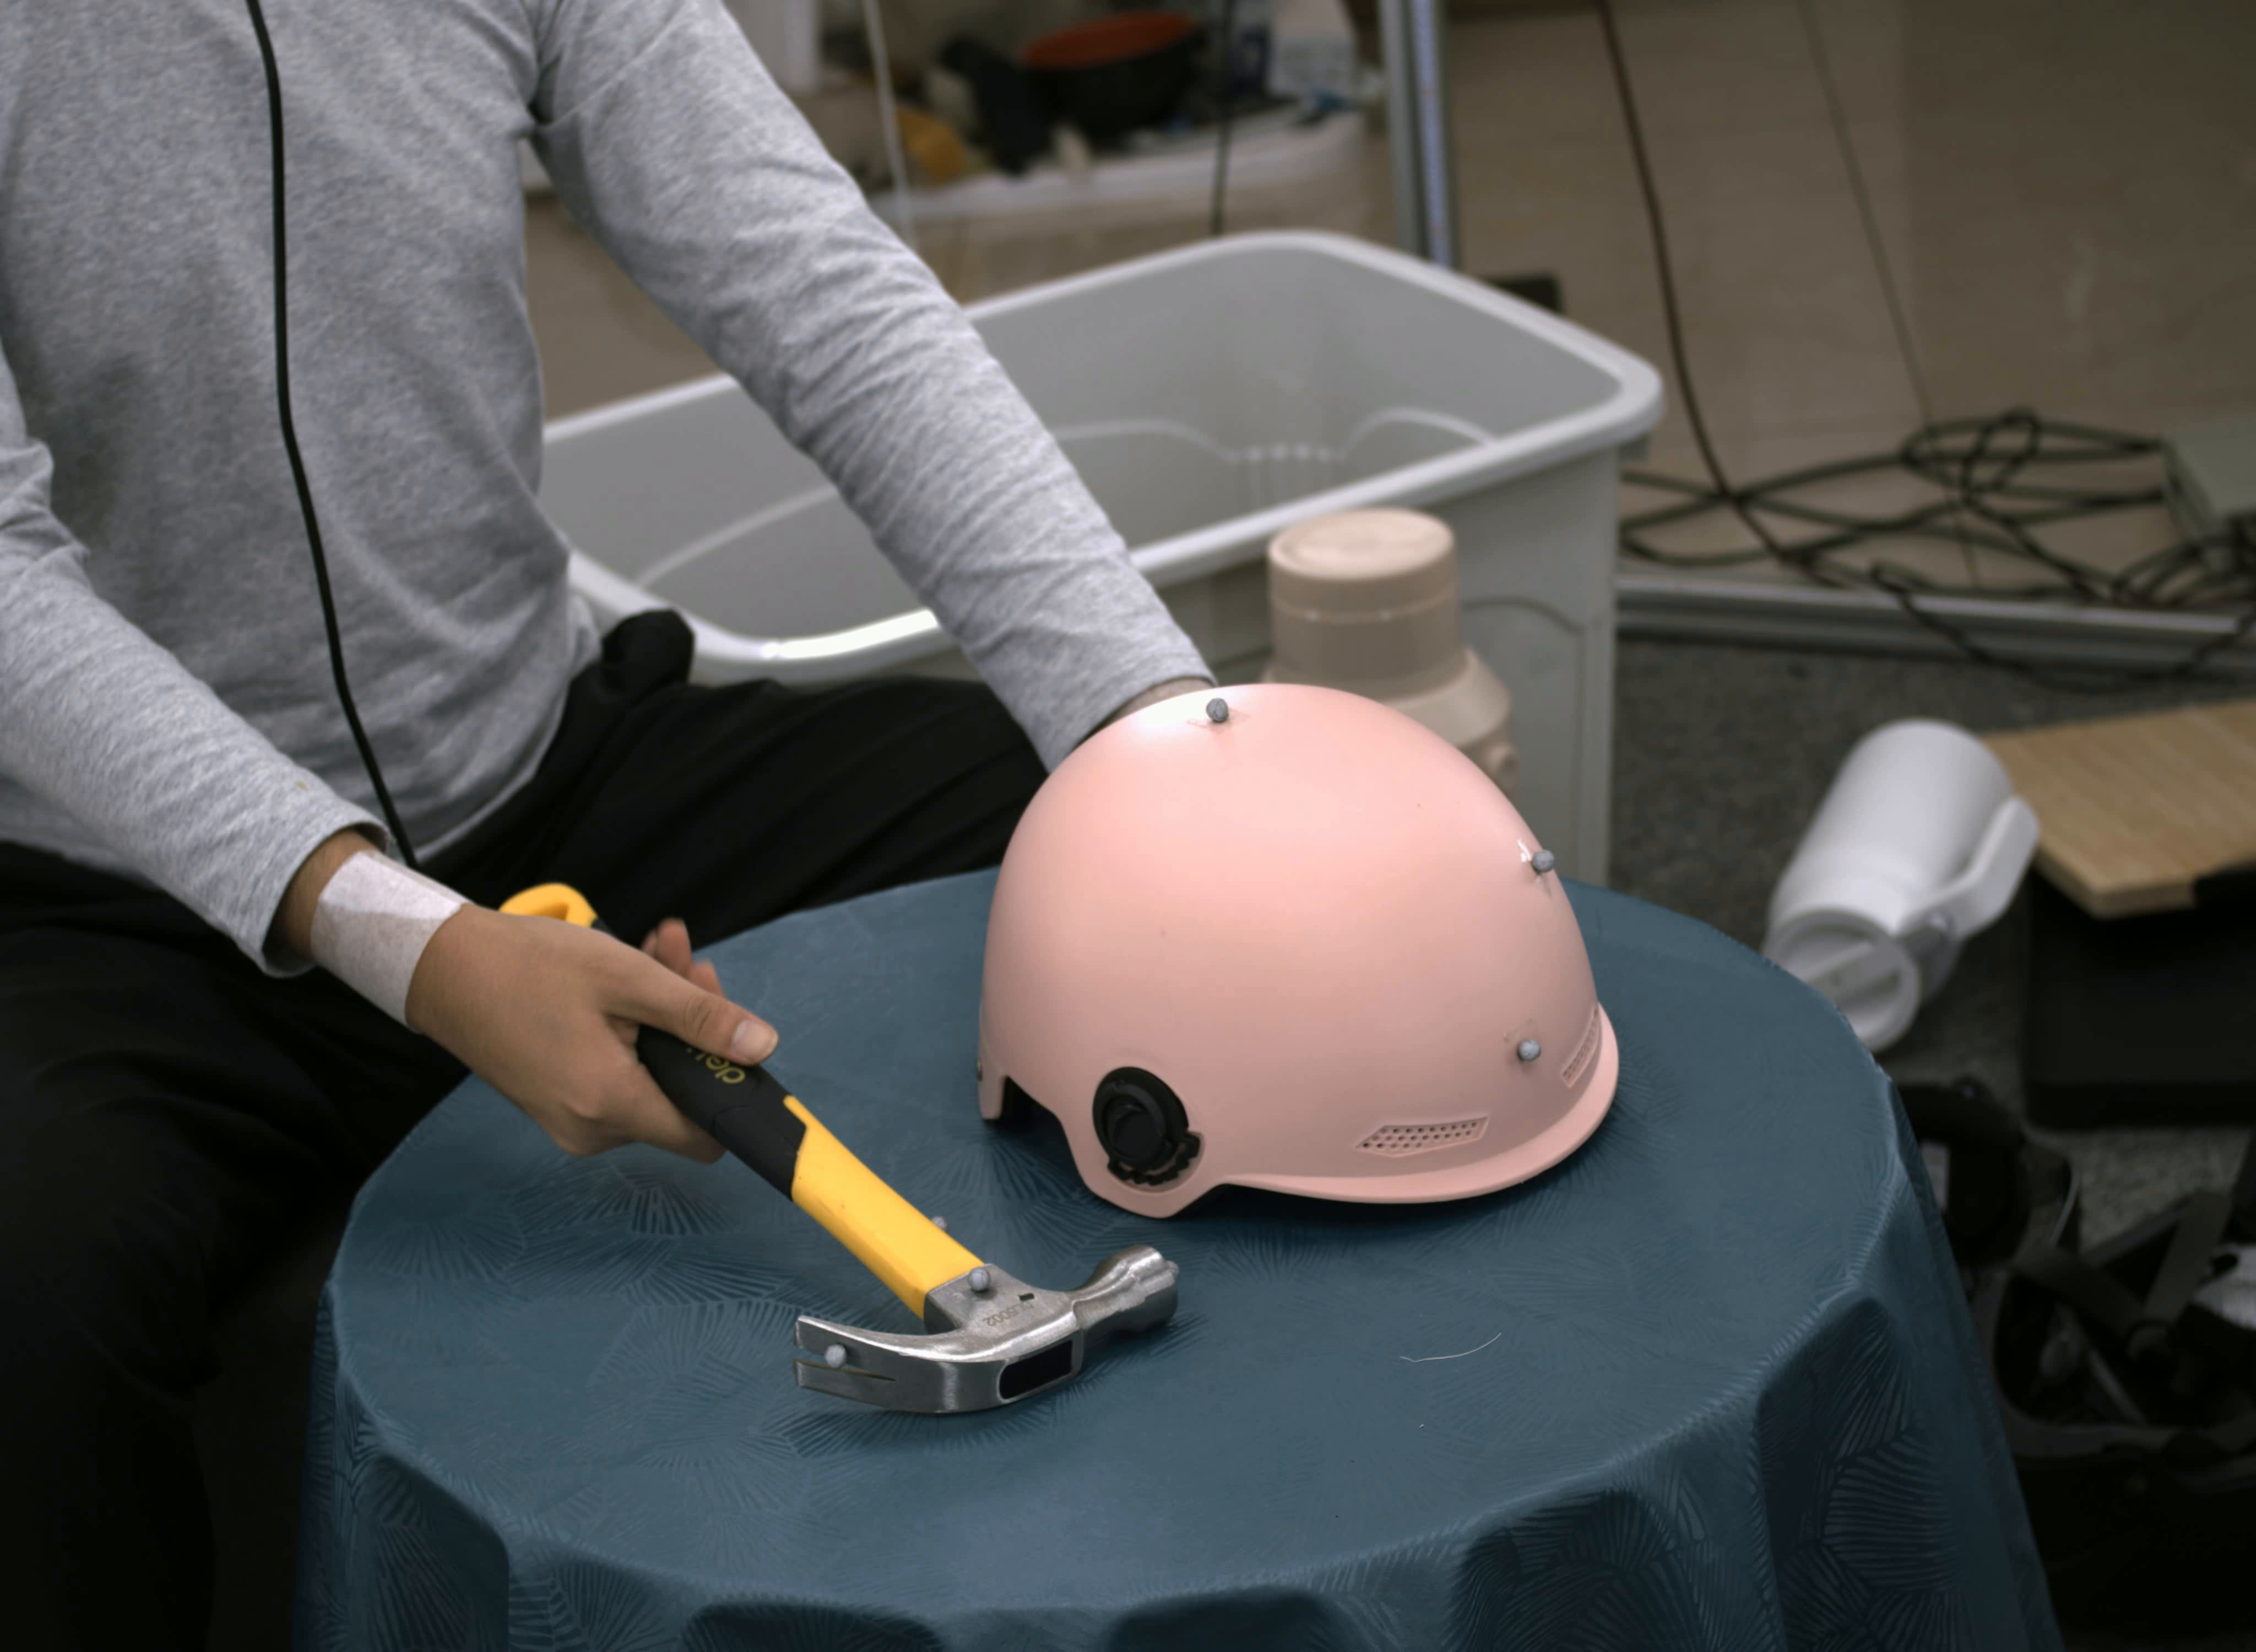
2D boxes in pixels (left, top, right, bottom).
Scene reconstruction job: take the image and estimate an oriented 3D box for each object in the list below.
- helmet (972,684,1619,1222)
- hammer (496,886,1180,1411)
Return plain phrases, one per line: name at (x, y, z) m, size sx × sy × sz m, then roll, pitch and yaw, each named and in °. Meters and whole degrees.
helmet at (0.062, 0.035, 2.176) m, size 0.232 × 0.161 × 0.263 m, roll -27°, pitch 35°, yaw -37°
hammer at (-0.133, 0.112, 2.118) m, size 0.130 × 0.033 × 0.334 m, roll -24°, pitch 43°, yaw -30°
